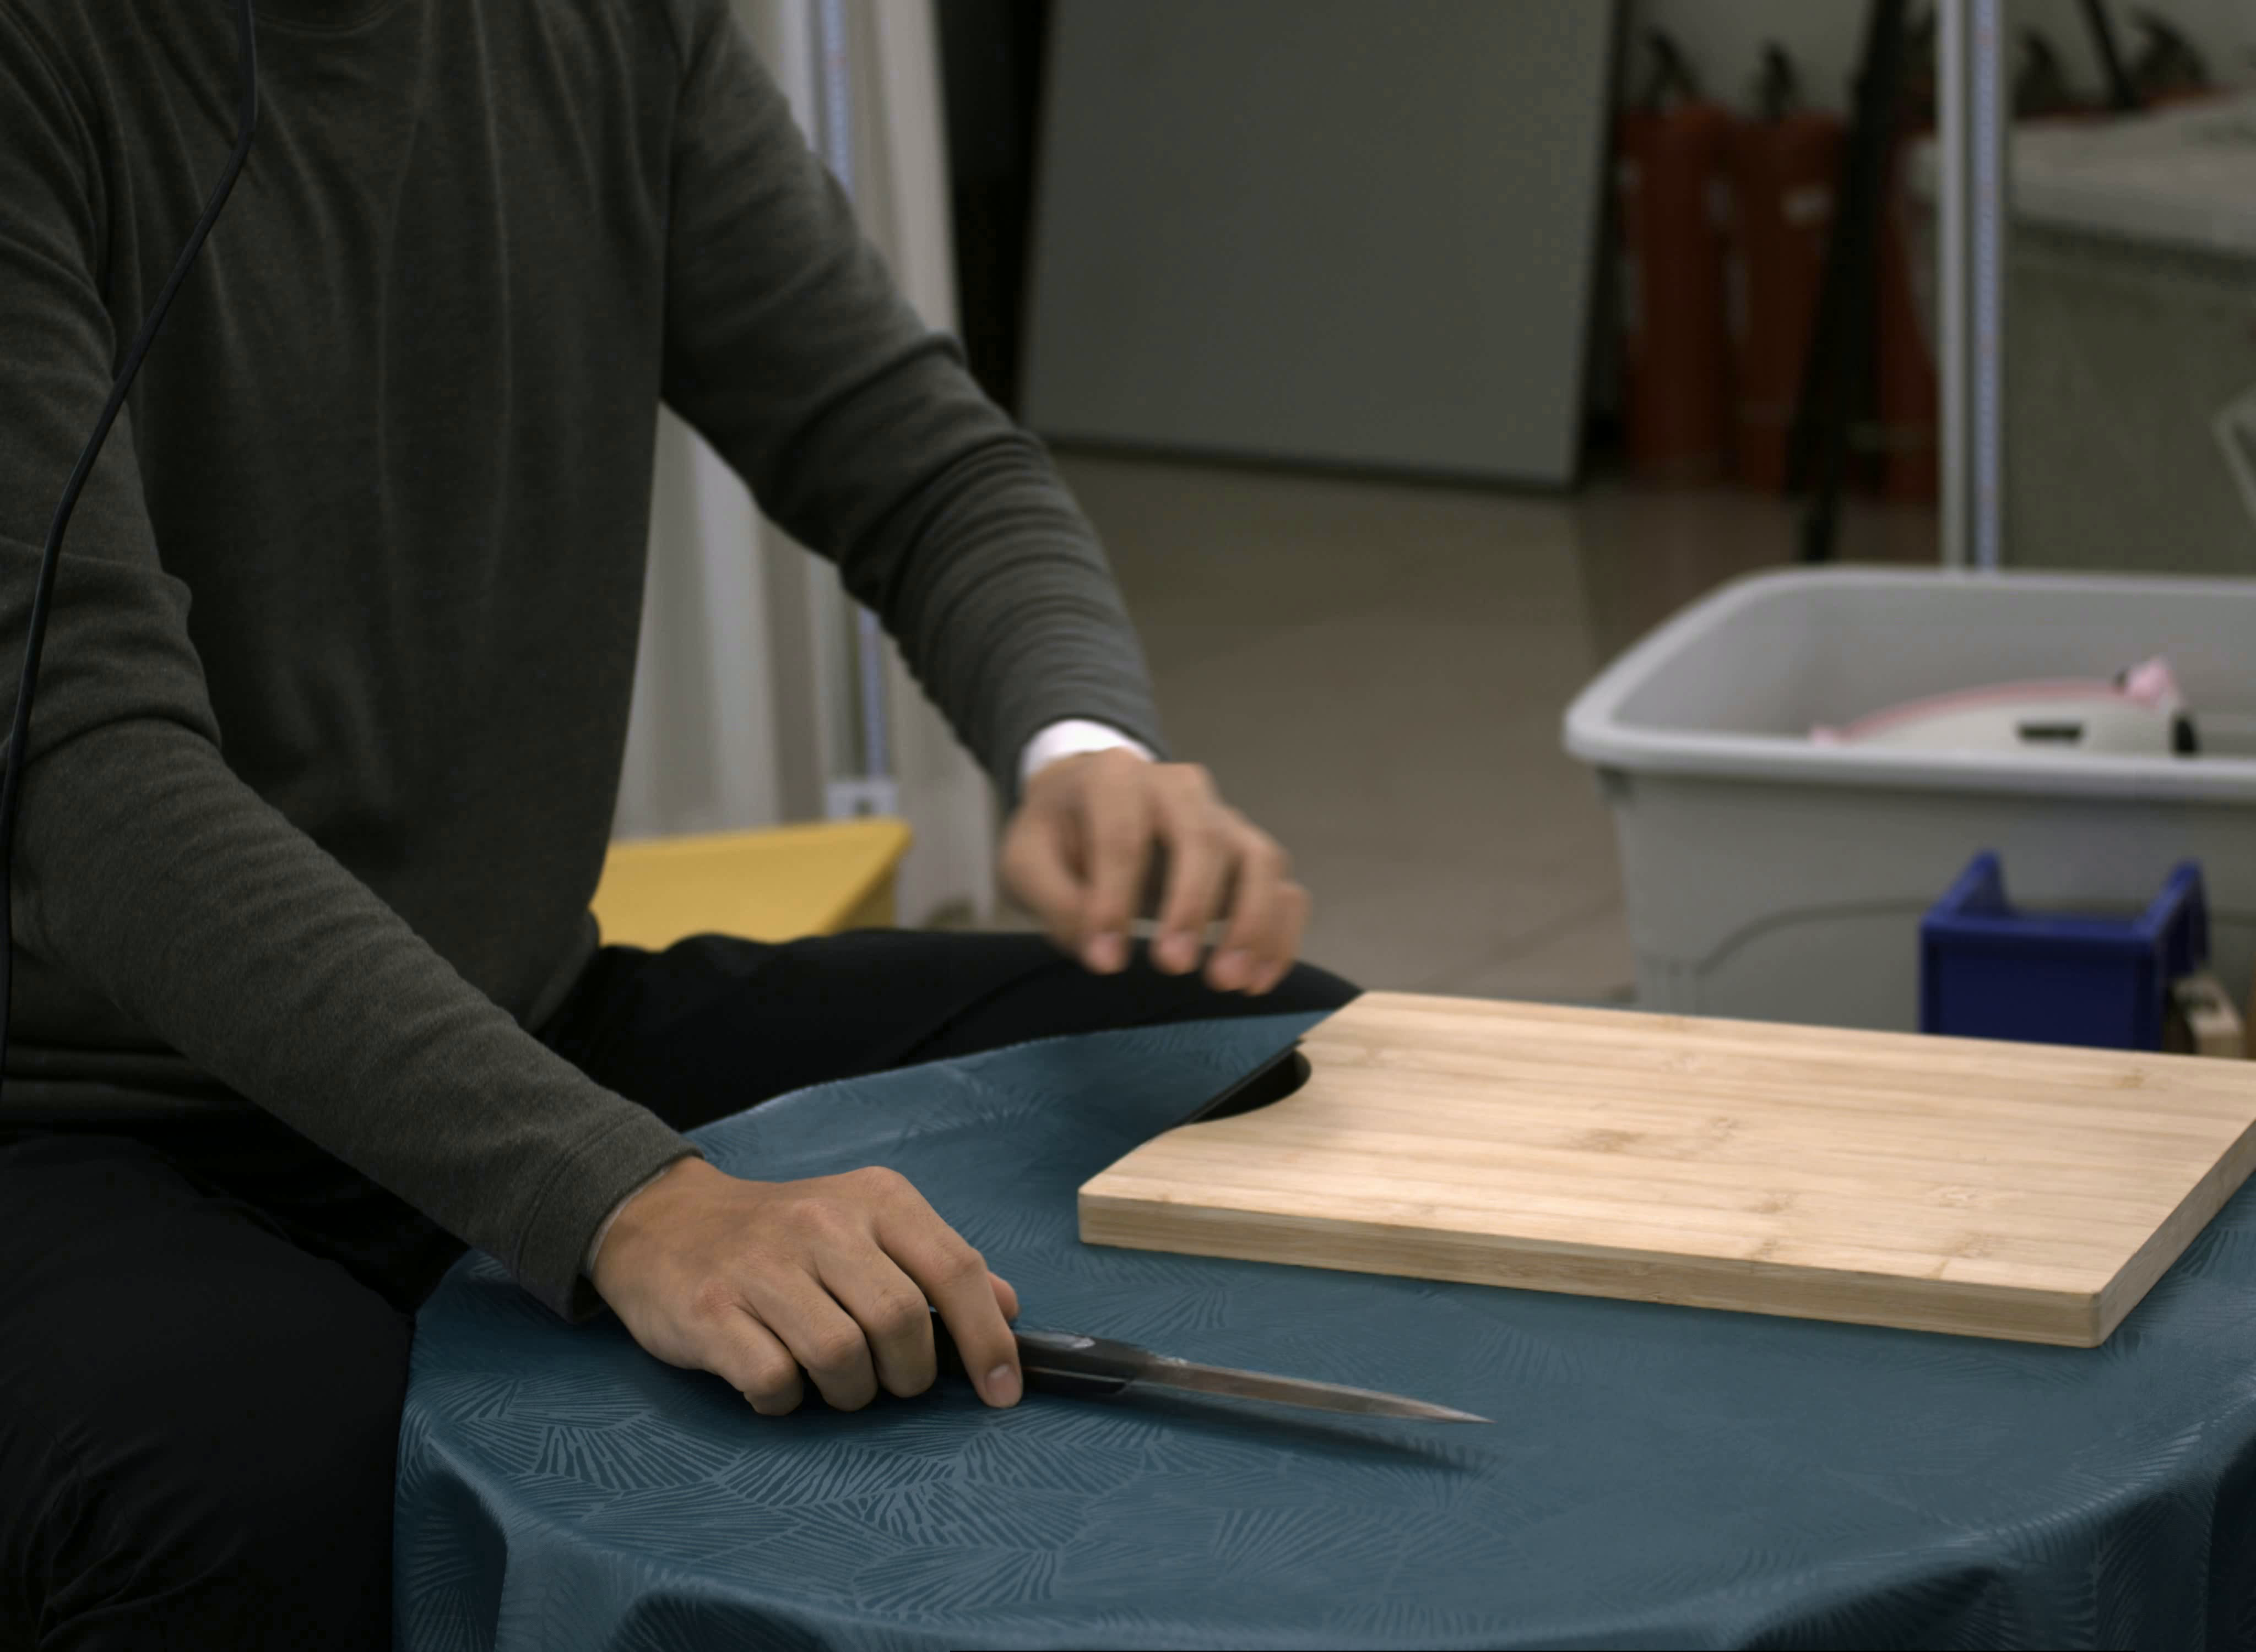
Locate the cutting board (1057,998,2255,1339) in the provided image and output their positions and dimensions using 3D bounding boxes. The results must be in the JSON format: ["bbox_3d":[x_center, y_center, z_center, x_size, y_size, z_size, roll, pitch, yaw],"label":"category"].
[{"bbox_3d":[0.181,0.107,1.748,0.349,0.024,0.247,3,15,27],"label":"cutting board"}]

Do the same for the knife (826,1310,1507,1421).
[{"bbox_3d":[0.006,0.160,1.571,0.239,0.016,0.024,3,18,34],"label":"knife"}]
